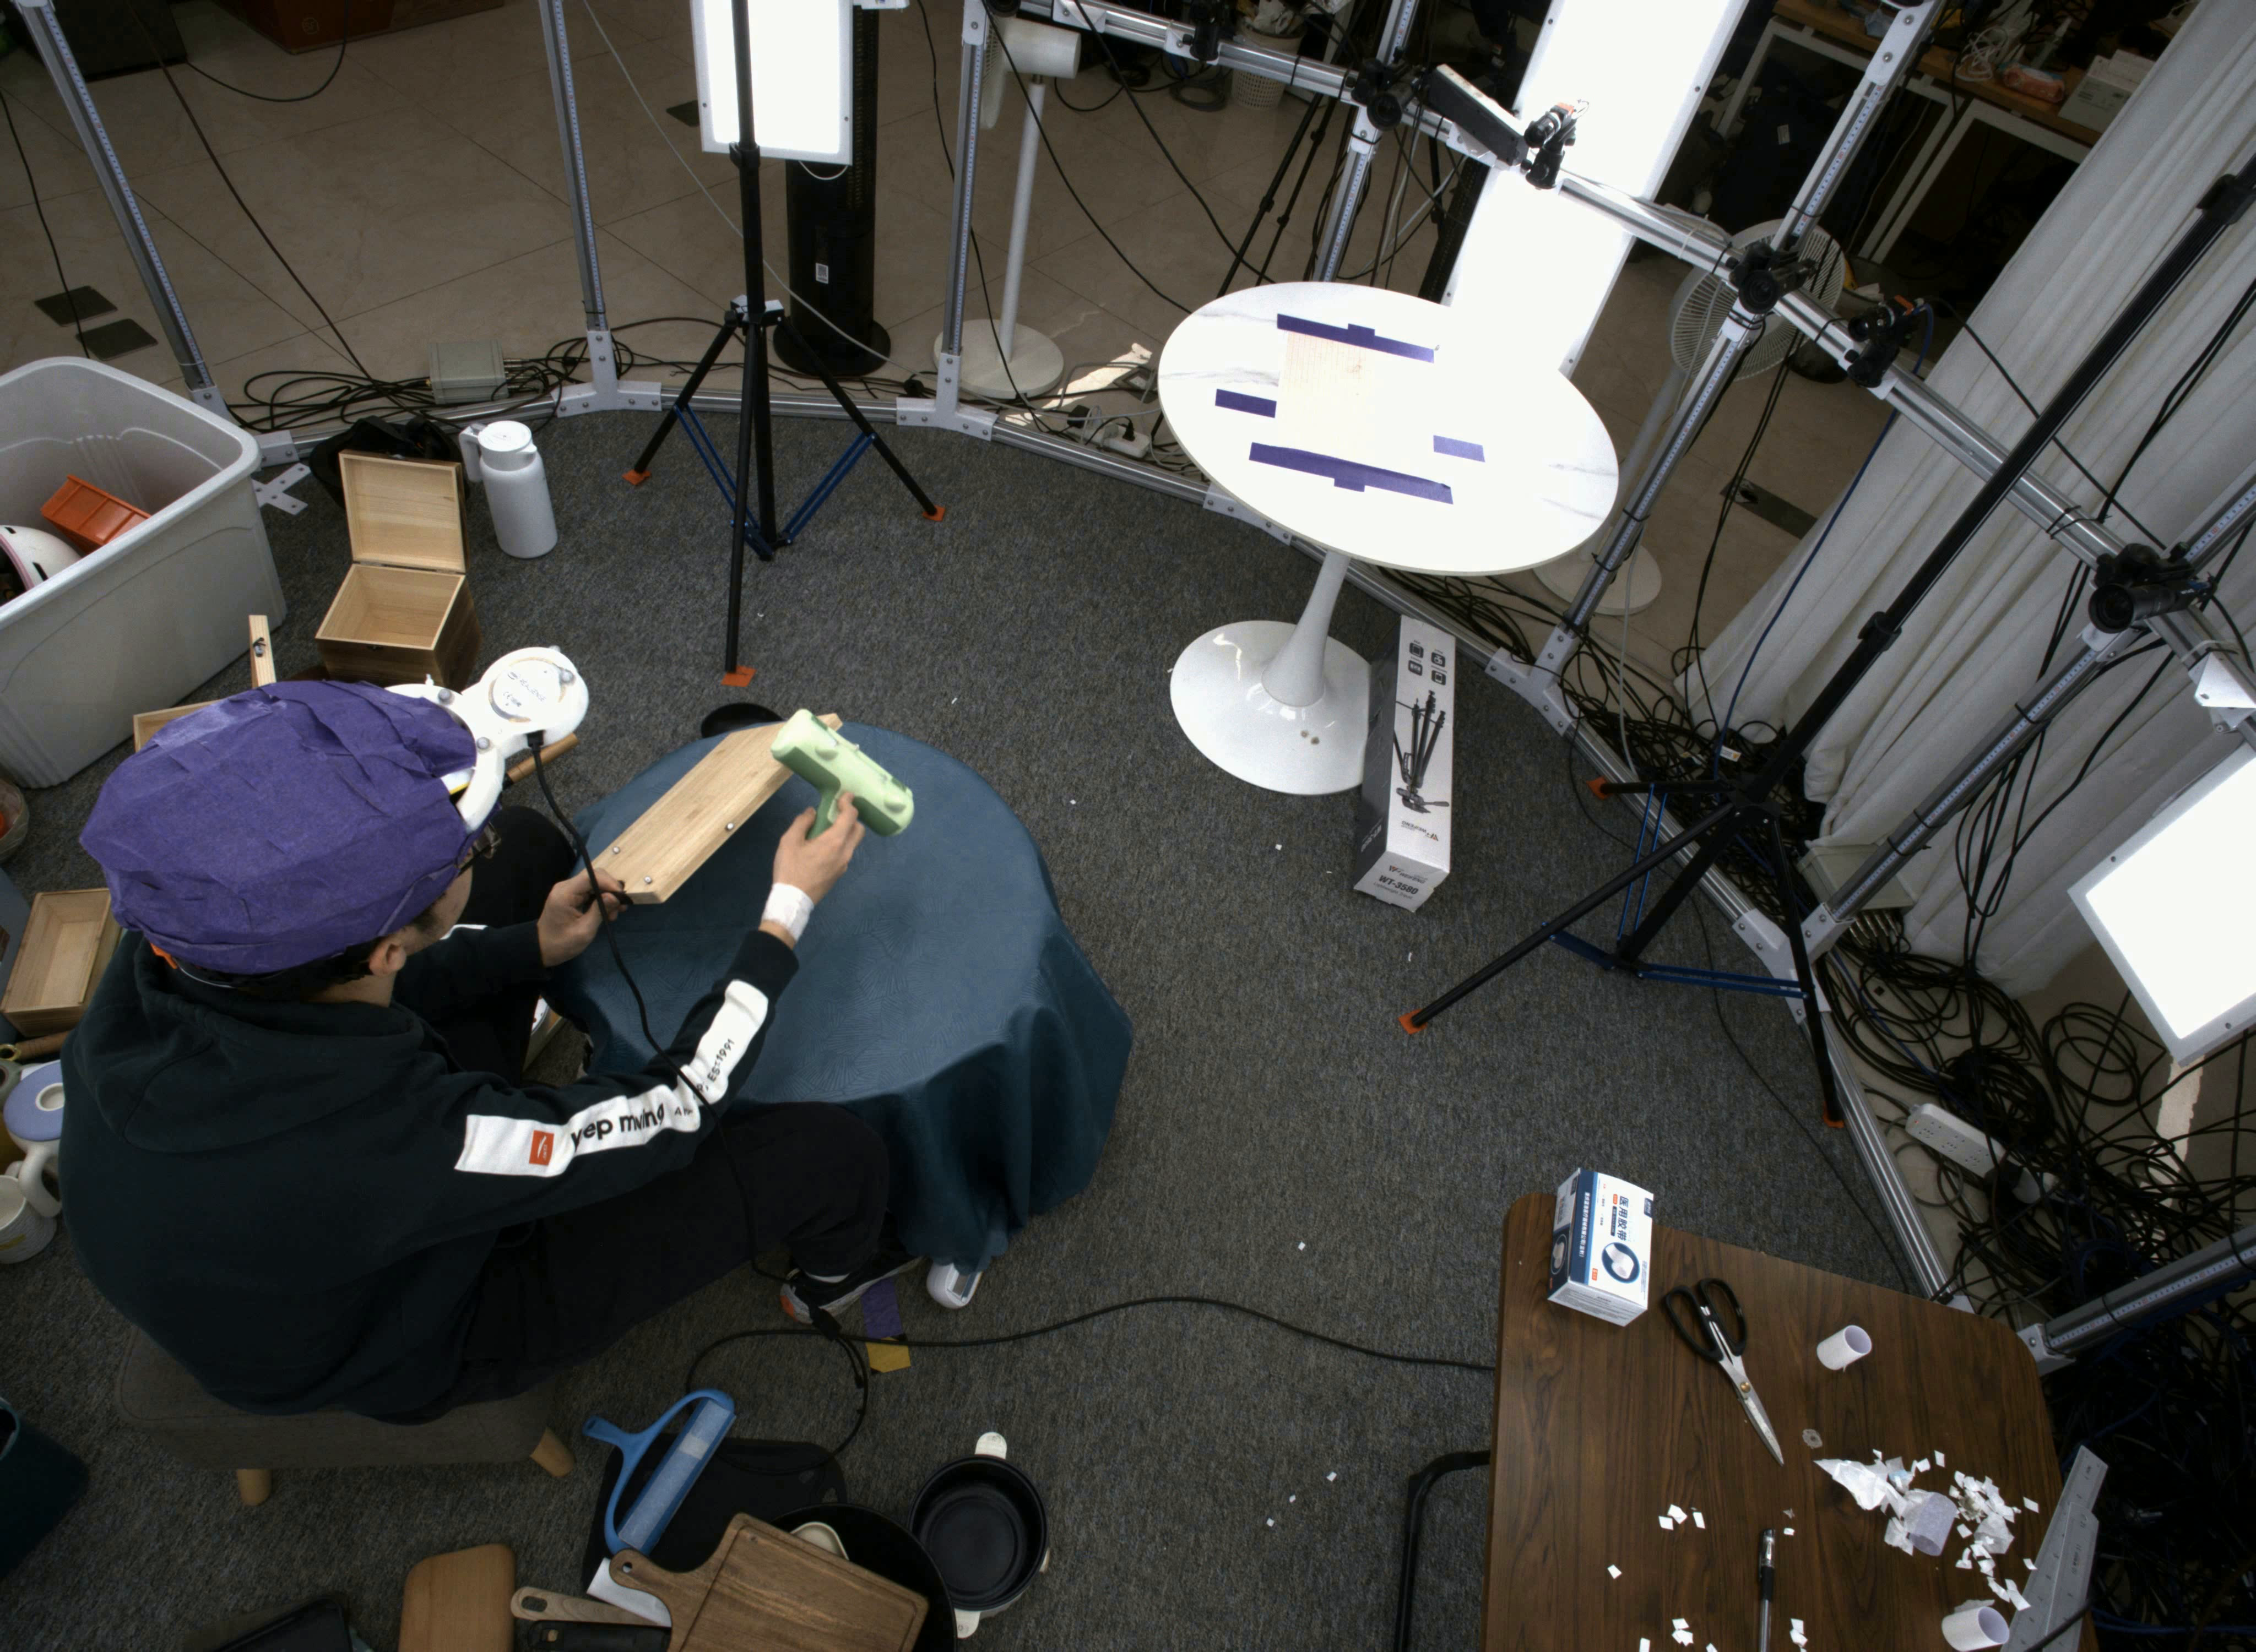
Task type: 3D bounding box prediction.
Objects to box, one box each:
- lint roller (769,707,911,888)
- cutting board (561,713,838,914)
[{"bbox_3d":[-0.345,-0.014,1.527,0.080,0.206,0.181,-13,51,33],"label":"lint roller"},{"bbox_3d":[-0.536,-0.019,1.603,0.243,0.024,0.347,-6,36,40],"label":"cutting board"}]
